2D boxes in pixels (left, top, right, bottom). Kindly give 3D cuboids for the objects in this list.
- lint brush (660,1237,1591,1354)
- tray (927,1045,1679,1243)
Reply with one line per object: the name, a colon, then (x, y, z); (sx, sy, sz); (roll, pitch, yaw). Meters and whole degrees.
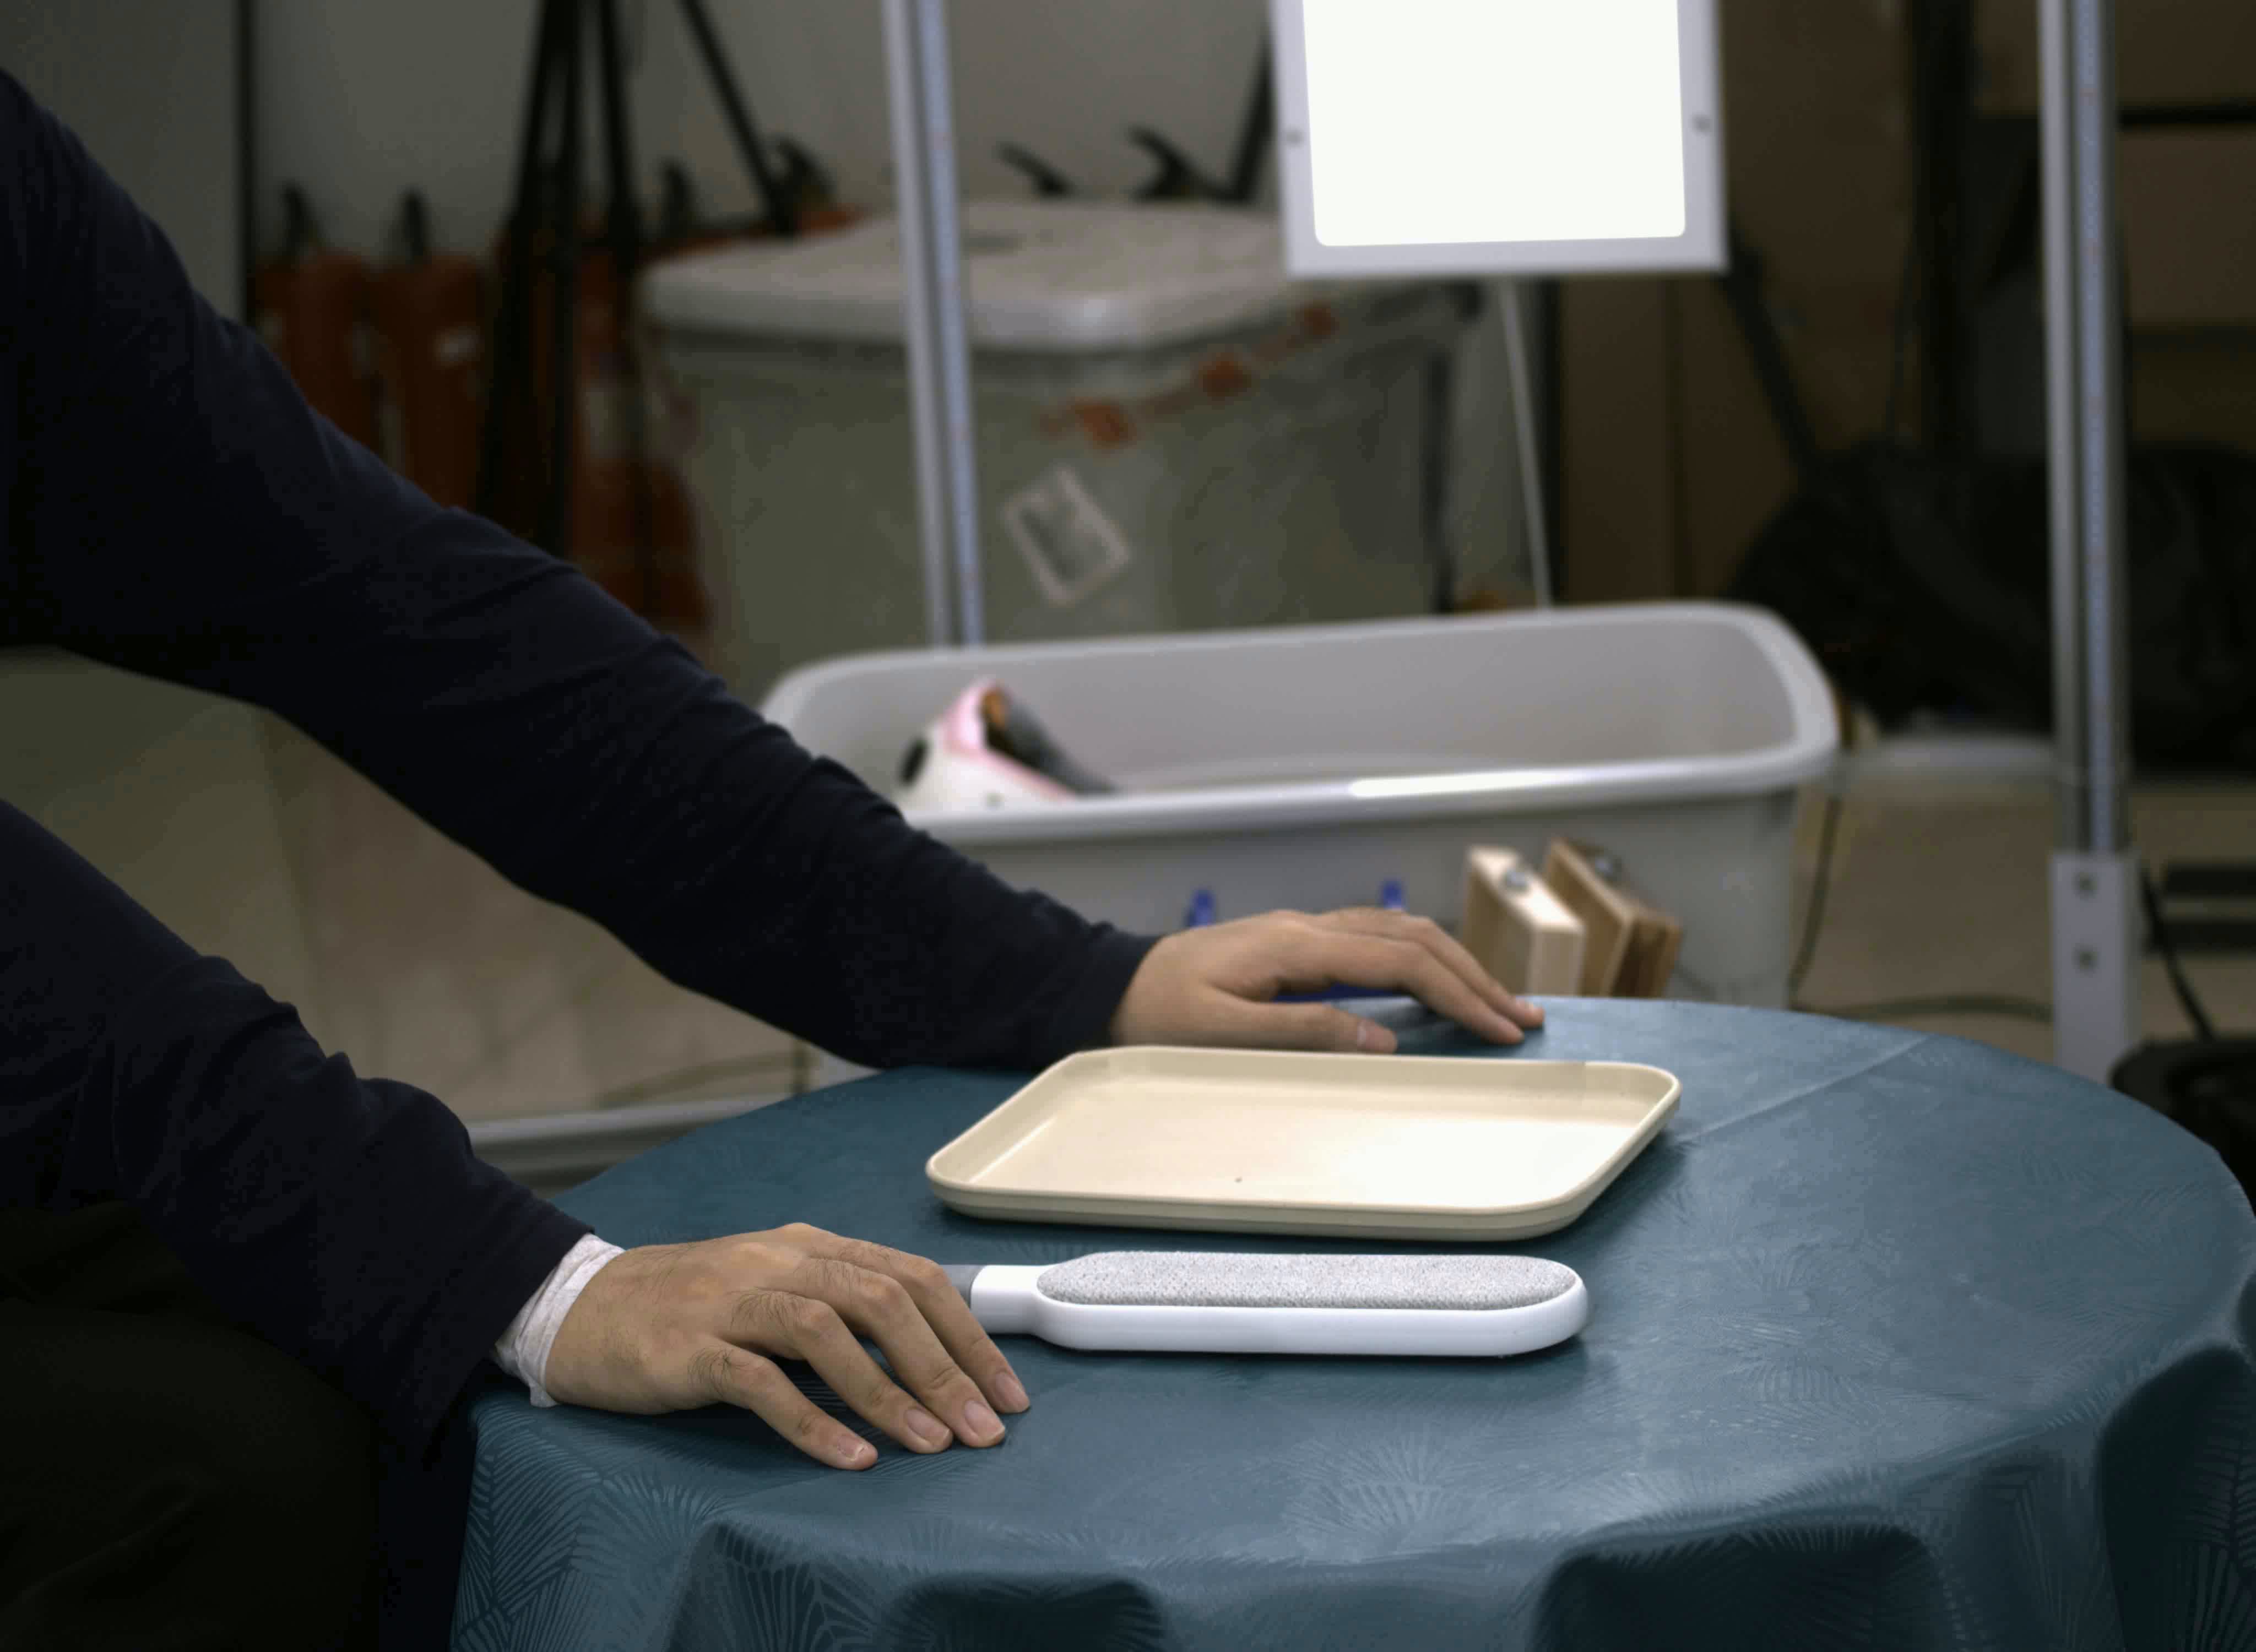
lint brush: (-0.005, 0.148, 1.759); (0.312, 0.021, 0.059); (0, 20, 19)
tray: (0.062, 0.110, 1.911); (0.243, 0.017, 0.168); (1, 15, 23)
